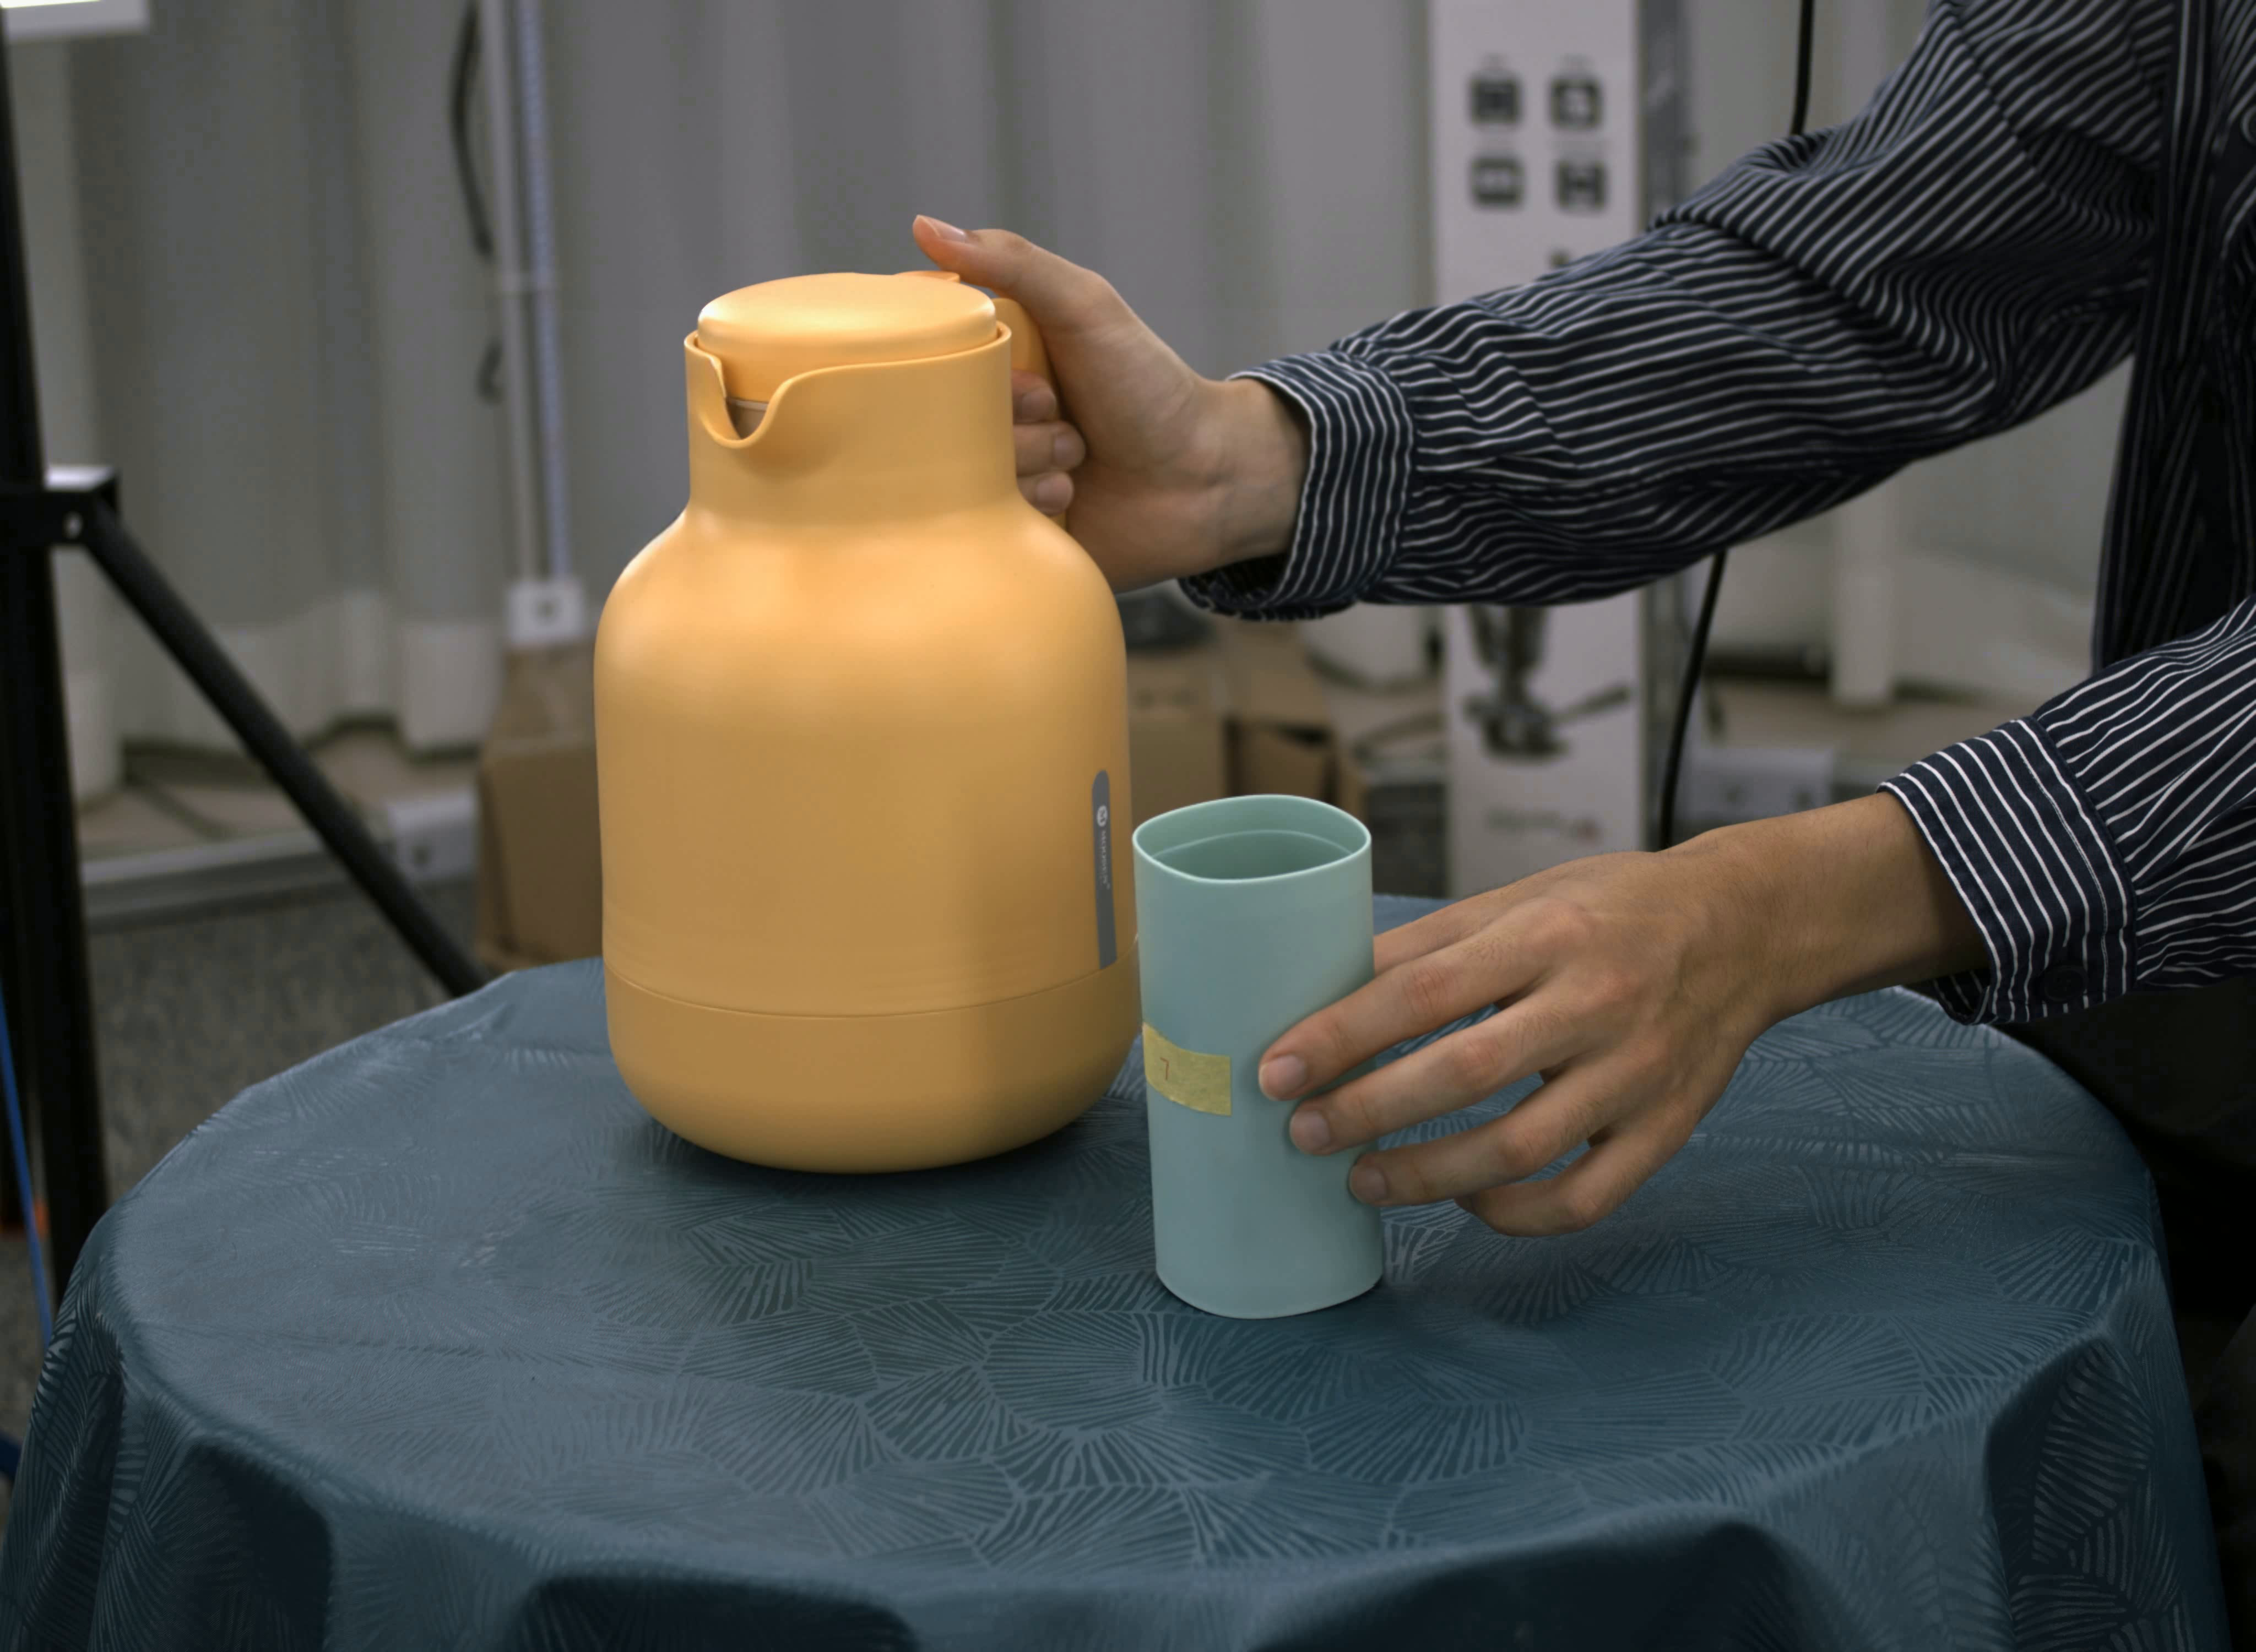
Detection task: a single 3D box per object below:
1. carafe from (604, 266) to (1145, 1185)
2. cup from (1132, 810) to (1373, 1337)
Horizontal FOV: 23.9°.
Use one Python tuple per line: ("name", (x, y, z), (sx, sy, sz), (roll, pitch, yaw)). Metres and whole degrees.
("carafe", (-0.067, -0.038, 1.610), (0.166, 0.260, 0.199), (6, 17, 22))
("cup", (0.037, 0.068, 1.467), (0.066, 0.132, 0.067), (-2, 20, 0))
